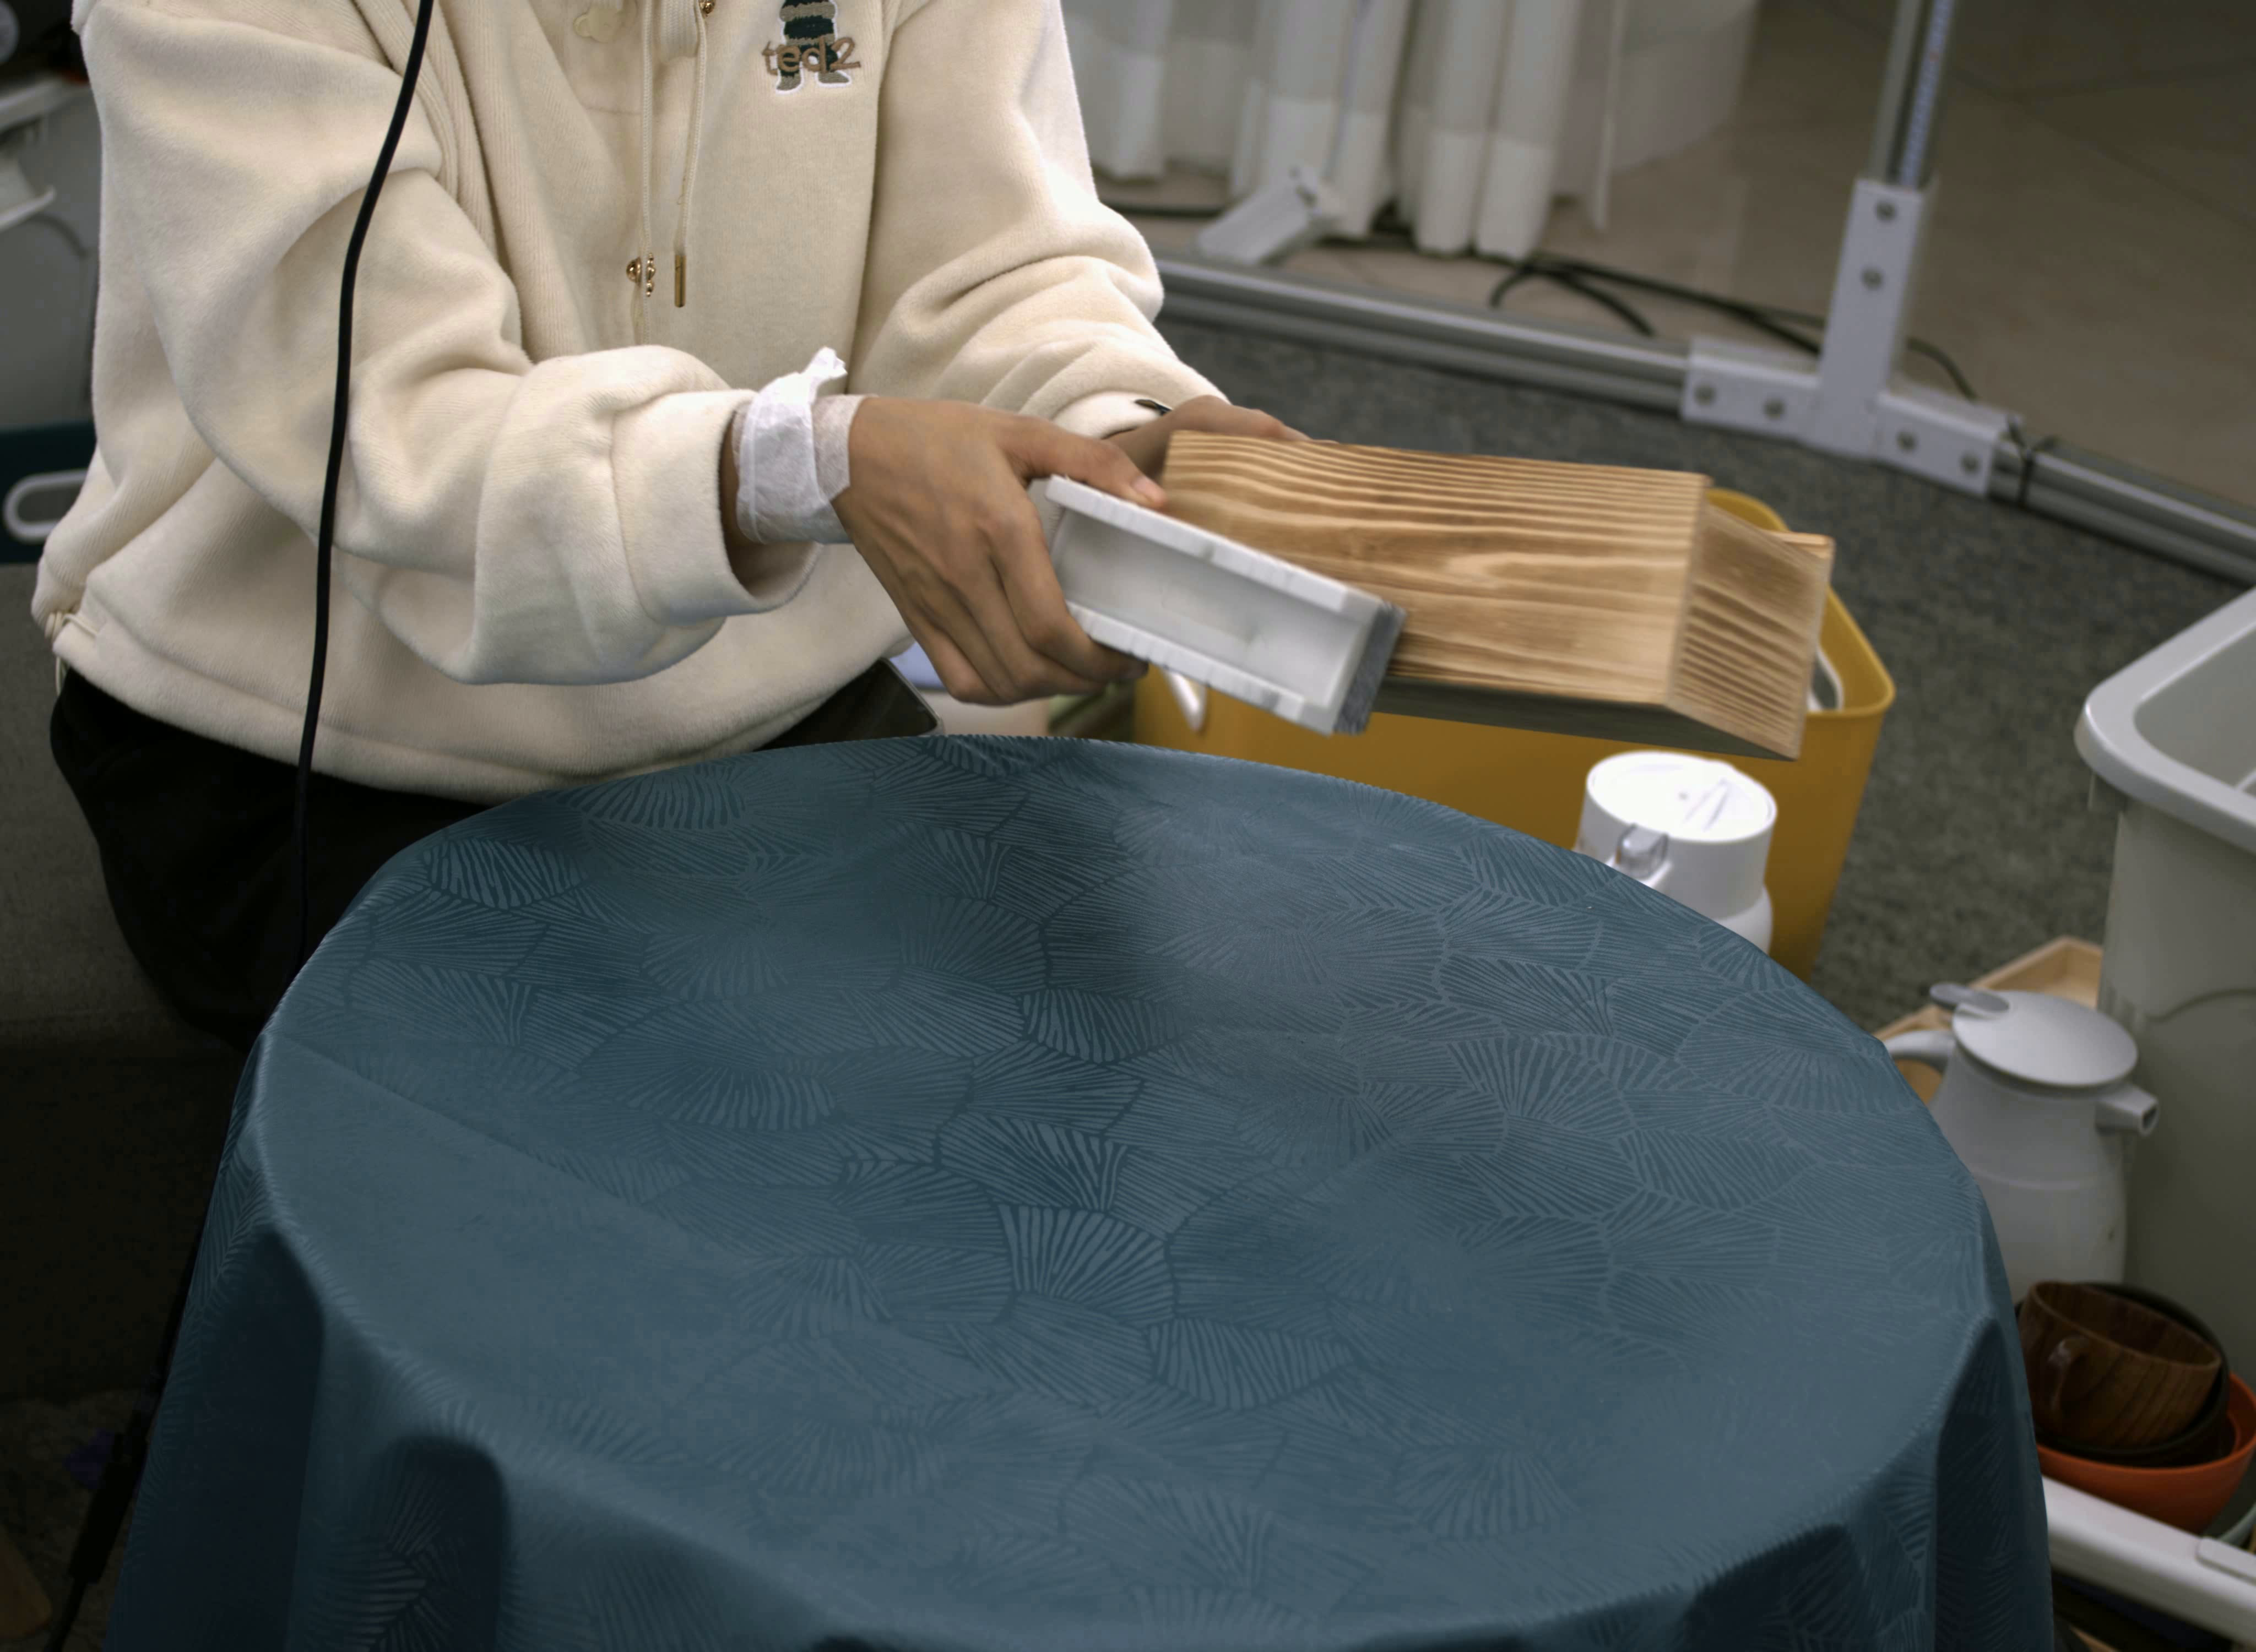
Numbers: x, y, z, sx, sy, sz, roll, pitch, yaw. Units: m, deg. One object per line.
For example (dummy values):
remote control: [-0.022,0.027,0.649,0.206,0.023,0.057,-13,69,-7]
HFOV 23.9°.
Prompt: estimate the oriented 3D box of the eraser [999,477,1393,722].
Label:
eraser: [0.023,-0.077,1.821,0.135,0.050,0.046,20,4,37]

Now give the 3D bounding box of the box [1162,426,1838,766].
box: [0.124,-0.080,1.851,0.212,0.080,0.106,8,-6,33]
